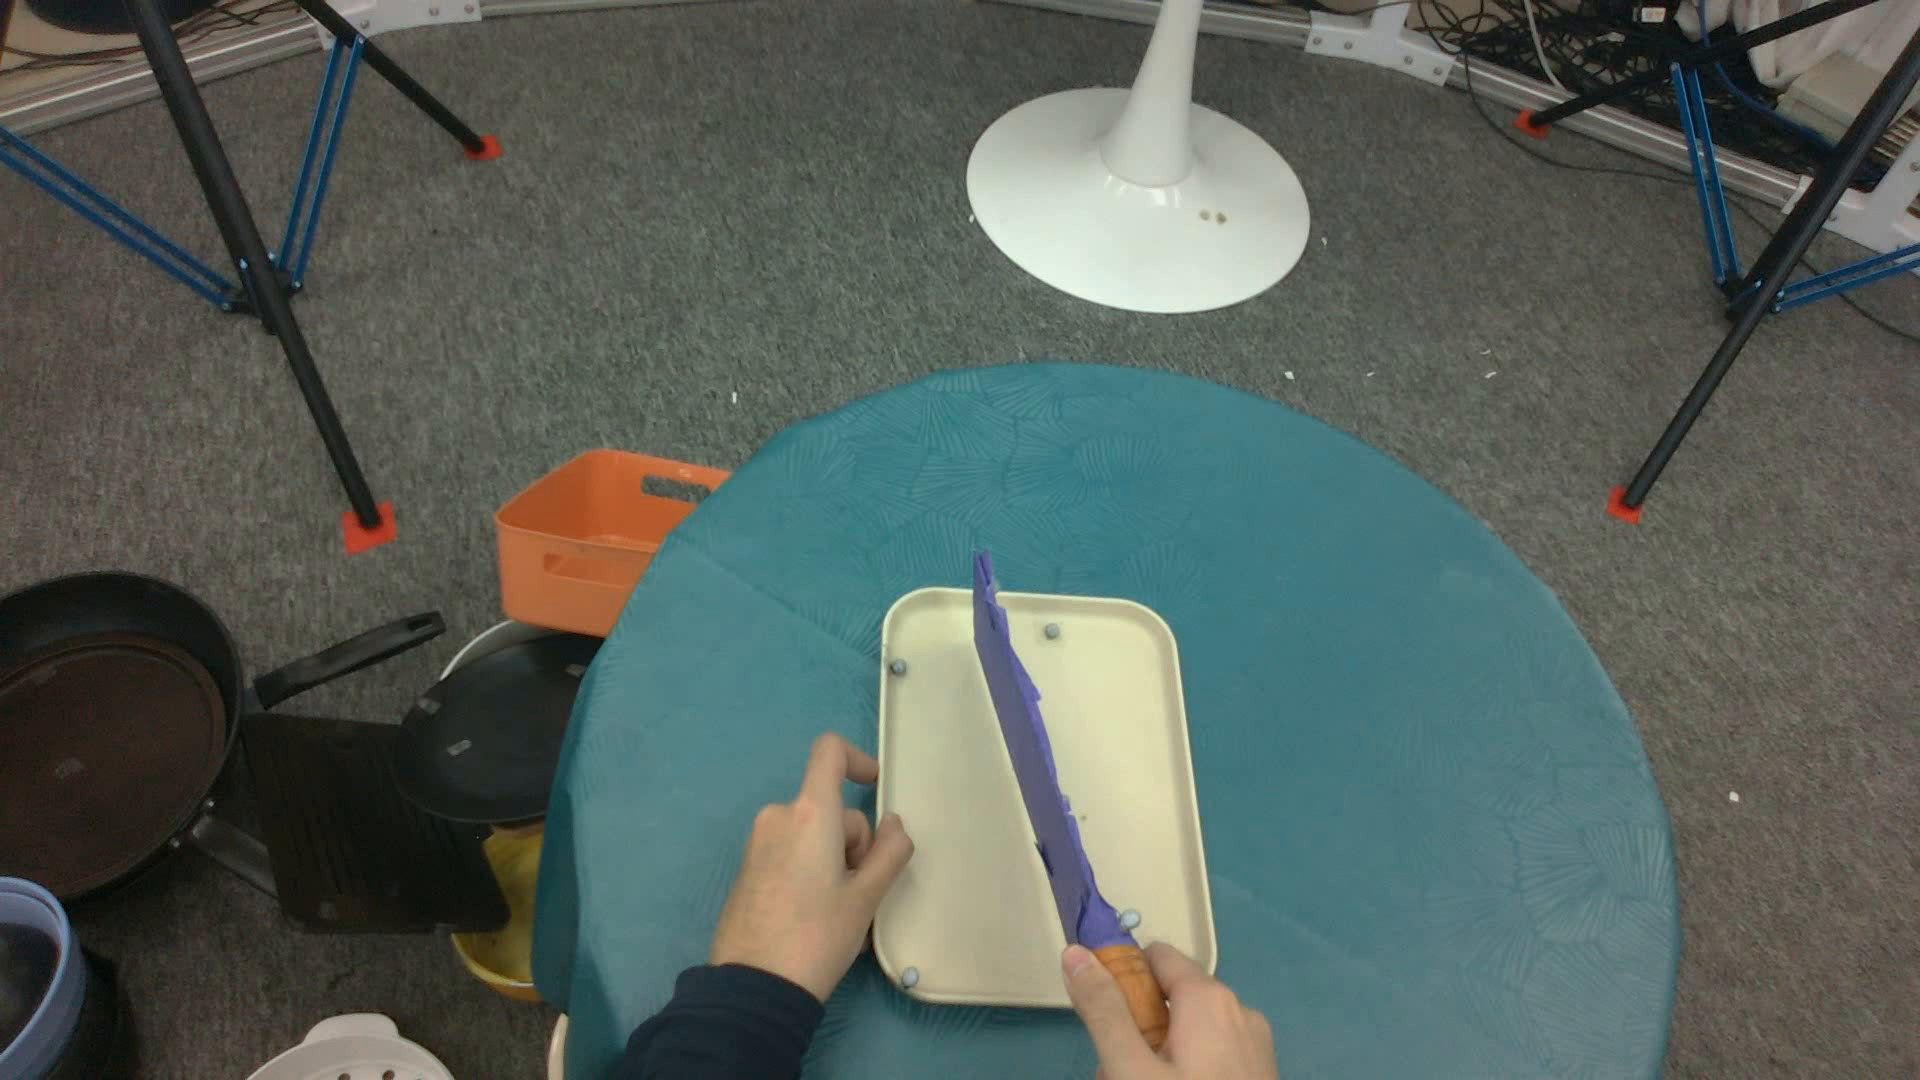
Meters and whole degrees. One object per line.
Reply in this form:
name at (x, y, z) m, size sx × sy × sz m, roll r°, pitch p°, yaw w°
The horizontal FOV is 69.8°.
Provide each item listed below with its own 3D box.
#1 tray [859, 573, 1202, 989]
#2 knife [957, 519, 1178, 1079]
tray at (0.033, 0.120, 0.729) m, size 0.171 × 0.017 × 0.241 m, roll 5°, pitch 51°, yaw -7°
knife at (0.043, 0.138, 0.654) m, size 0.032 × 0.103 × 0.316 m, roll -11°, pitch 53°, yaw -7°
